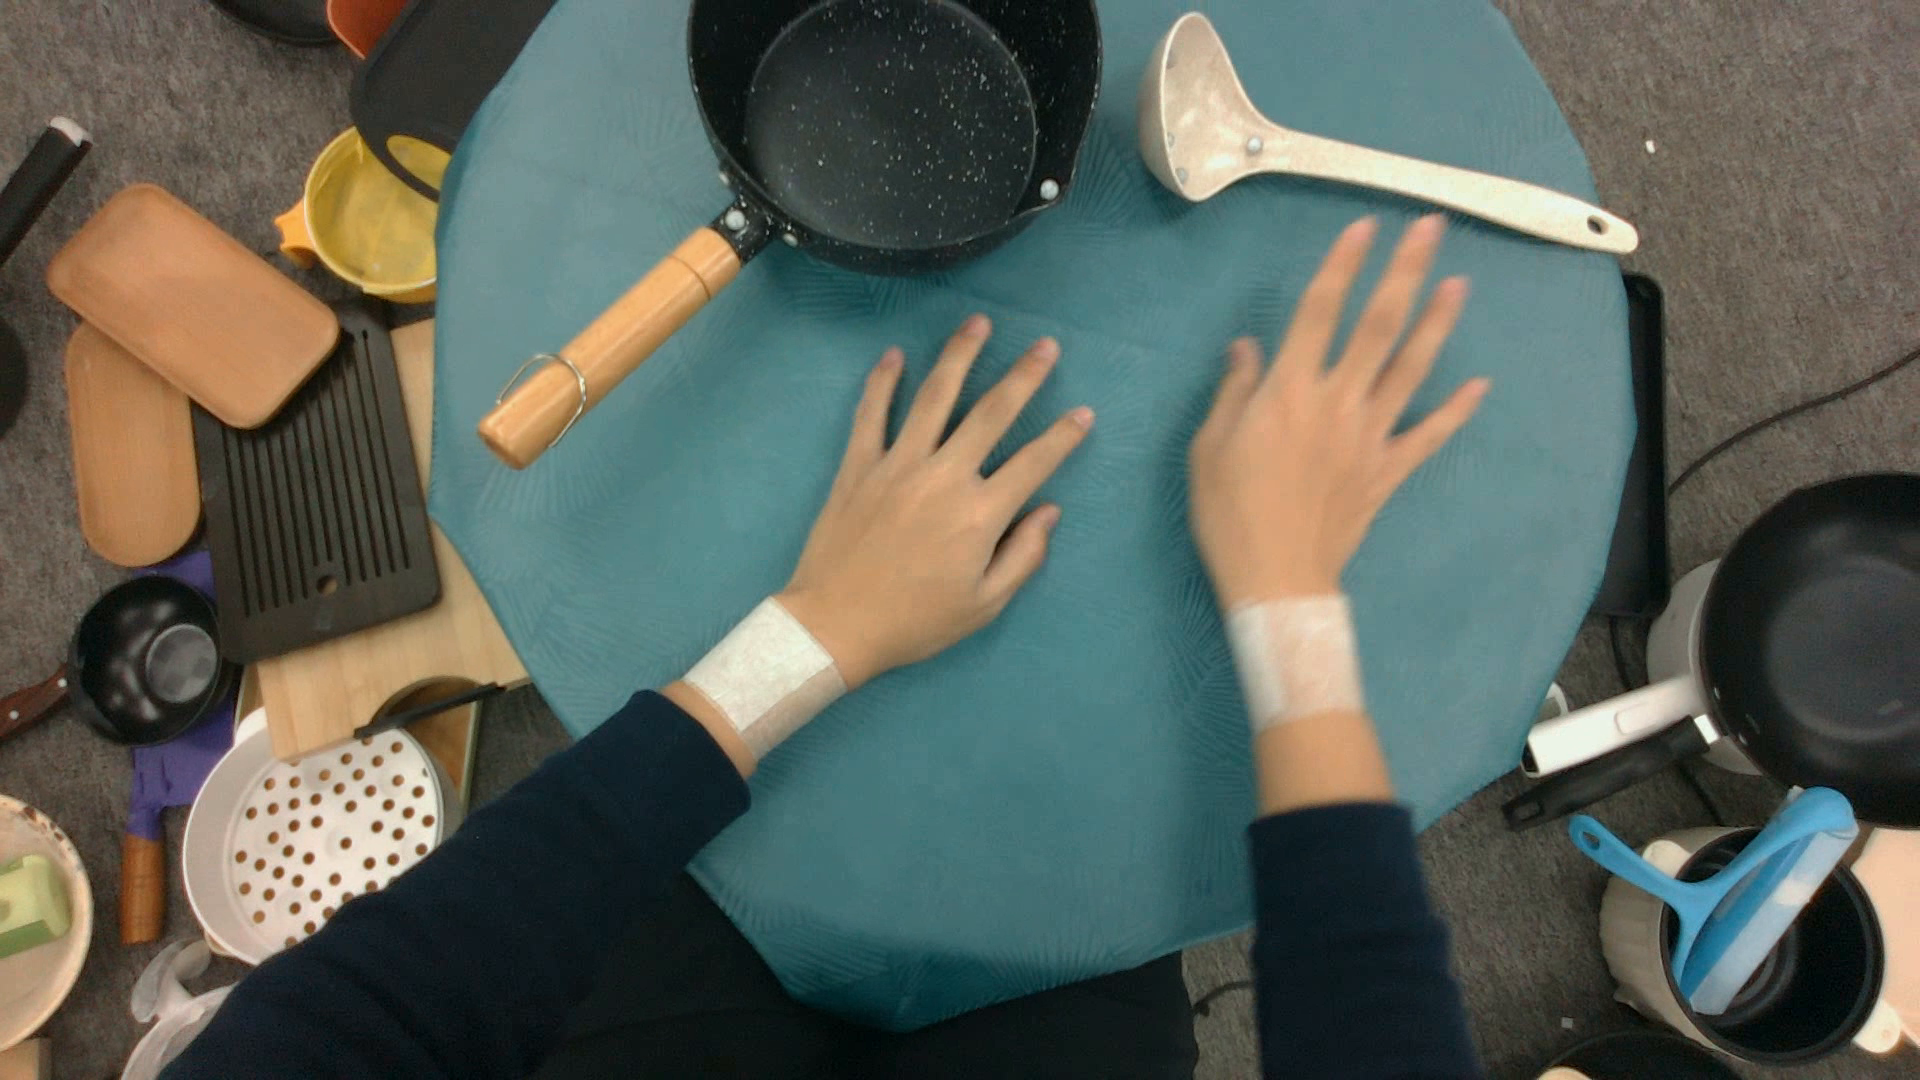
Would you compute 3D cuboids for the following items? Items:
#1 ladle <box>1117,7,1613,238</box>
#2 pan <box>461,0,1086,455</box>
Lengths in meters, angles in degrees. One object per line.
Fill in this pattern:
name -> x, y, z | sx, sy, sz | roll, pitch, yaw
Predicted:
ladle -> 0.212, -0.198, 0.684 | 0.275, 0.069, 0.089 | 10, 70, -4
pan -> -0.087, -0.159, 0.629 | 0.207, 0.108, 0.343 | 40, 79, 0
